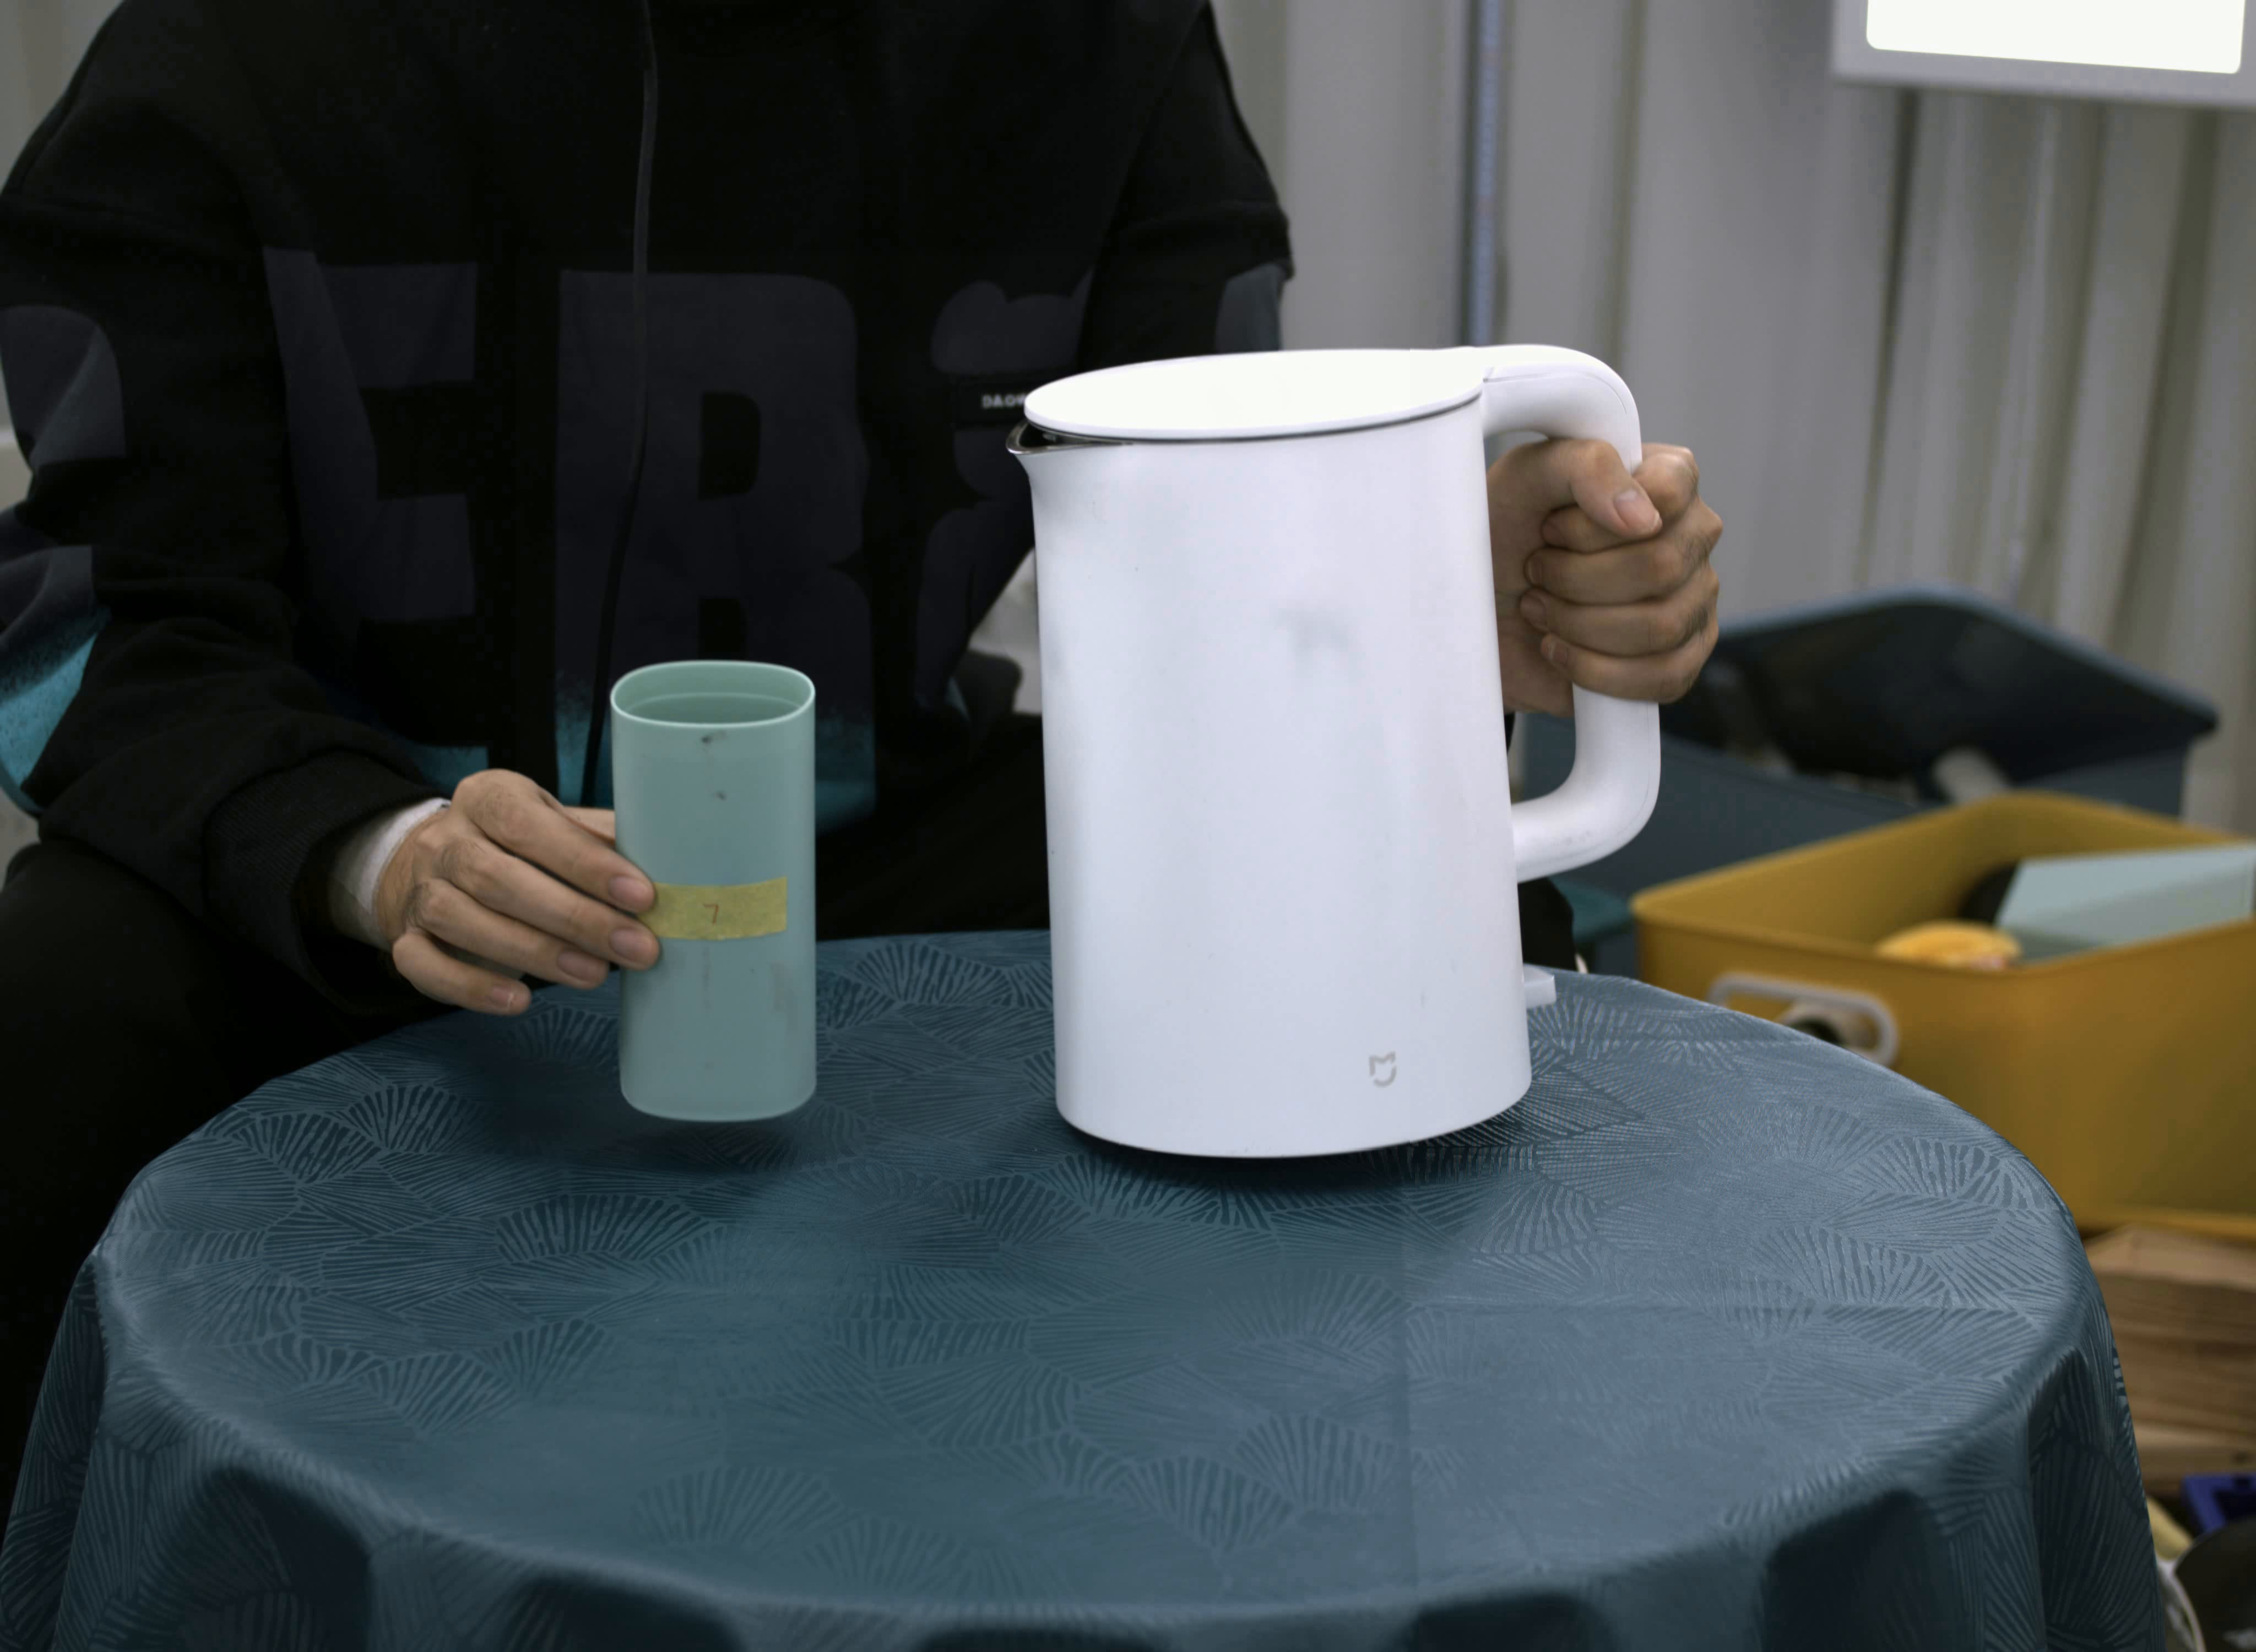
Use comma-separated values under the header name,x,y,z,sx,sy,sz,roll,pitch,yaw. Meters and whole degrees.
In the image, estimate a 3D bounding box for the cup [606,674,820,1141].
name,x,y,z,sx,sy,sz,roll,pitch,yaw
cup,-0.127,0.024,1.627,0.066,0.133,0.066,0,21,1

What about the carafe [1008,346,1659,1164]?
name,x,y,z,sx,sy,sz,roll,pitch,yaw
carafe,0.070,-0.029,1.665,0.214,0.242,0.150,-9,16,-22
